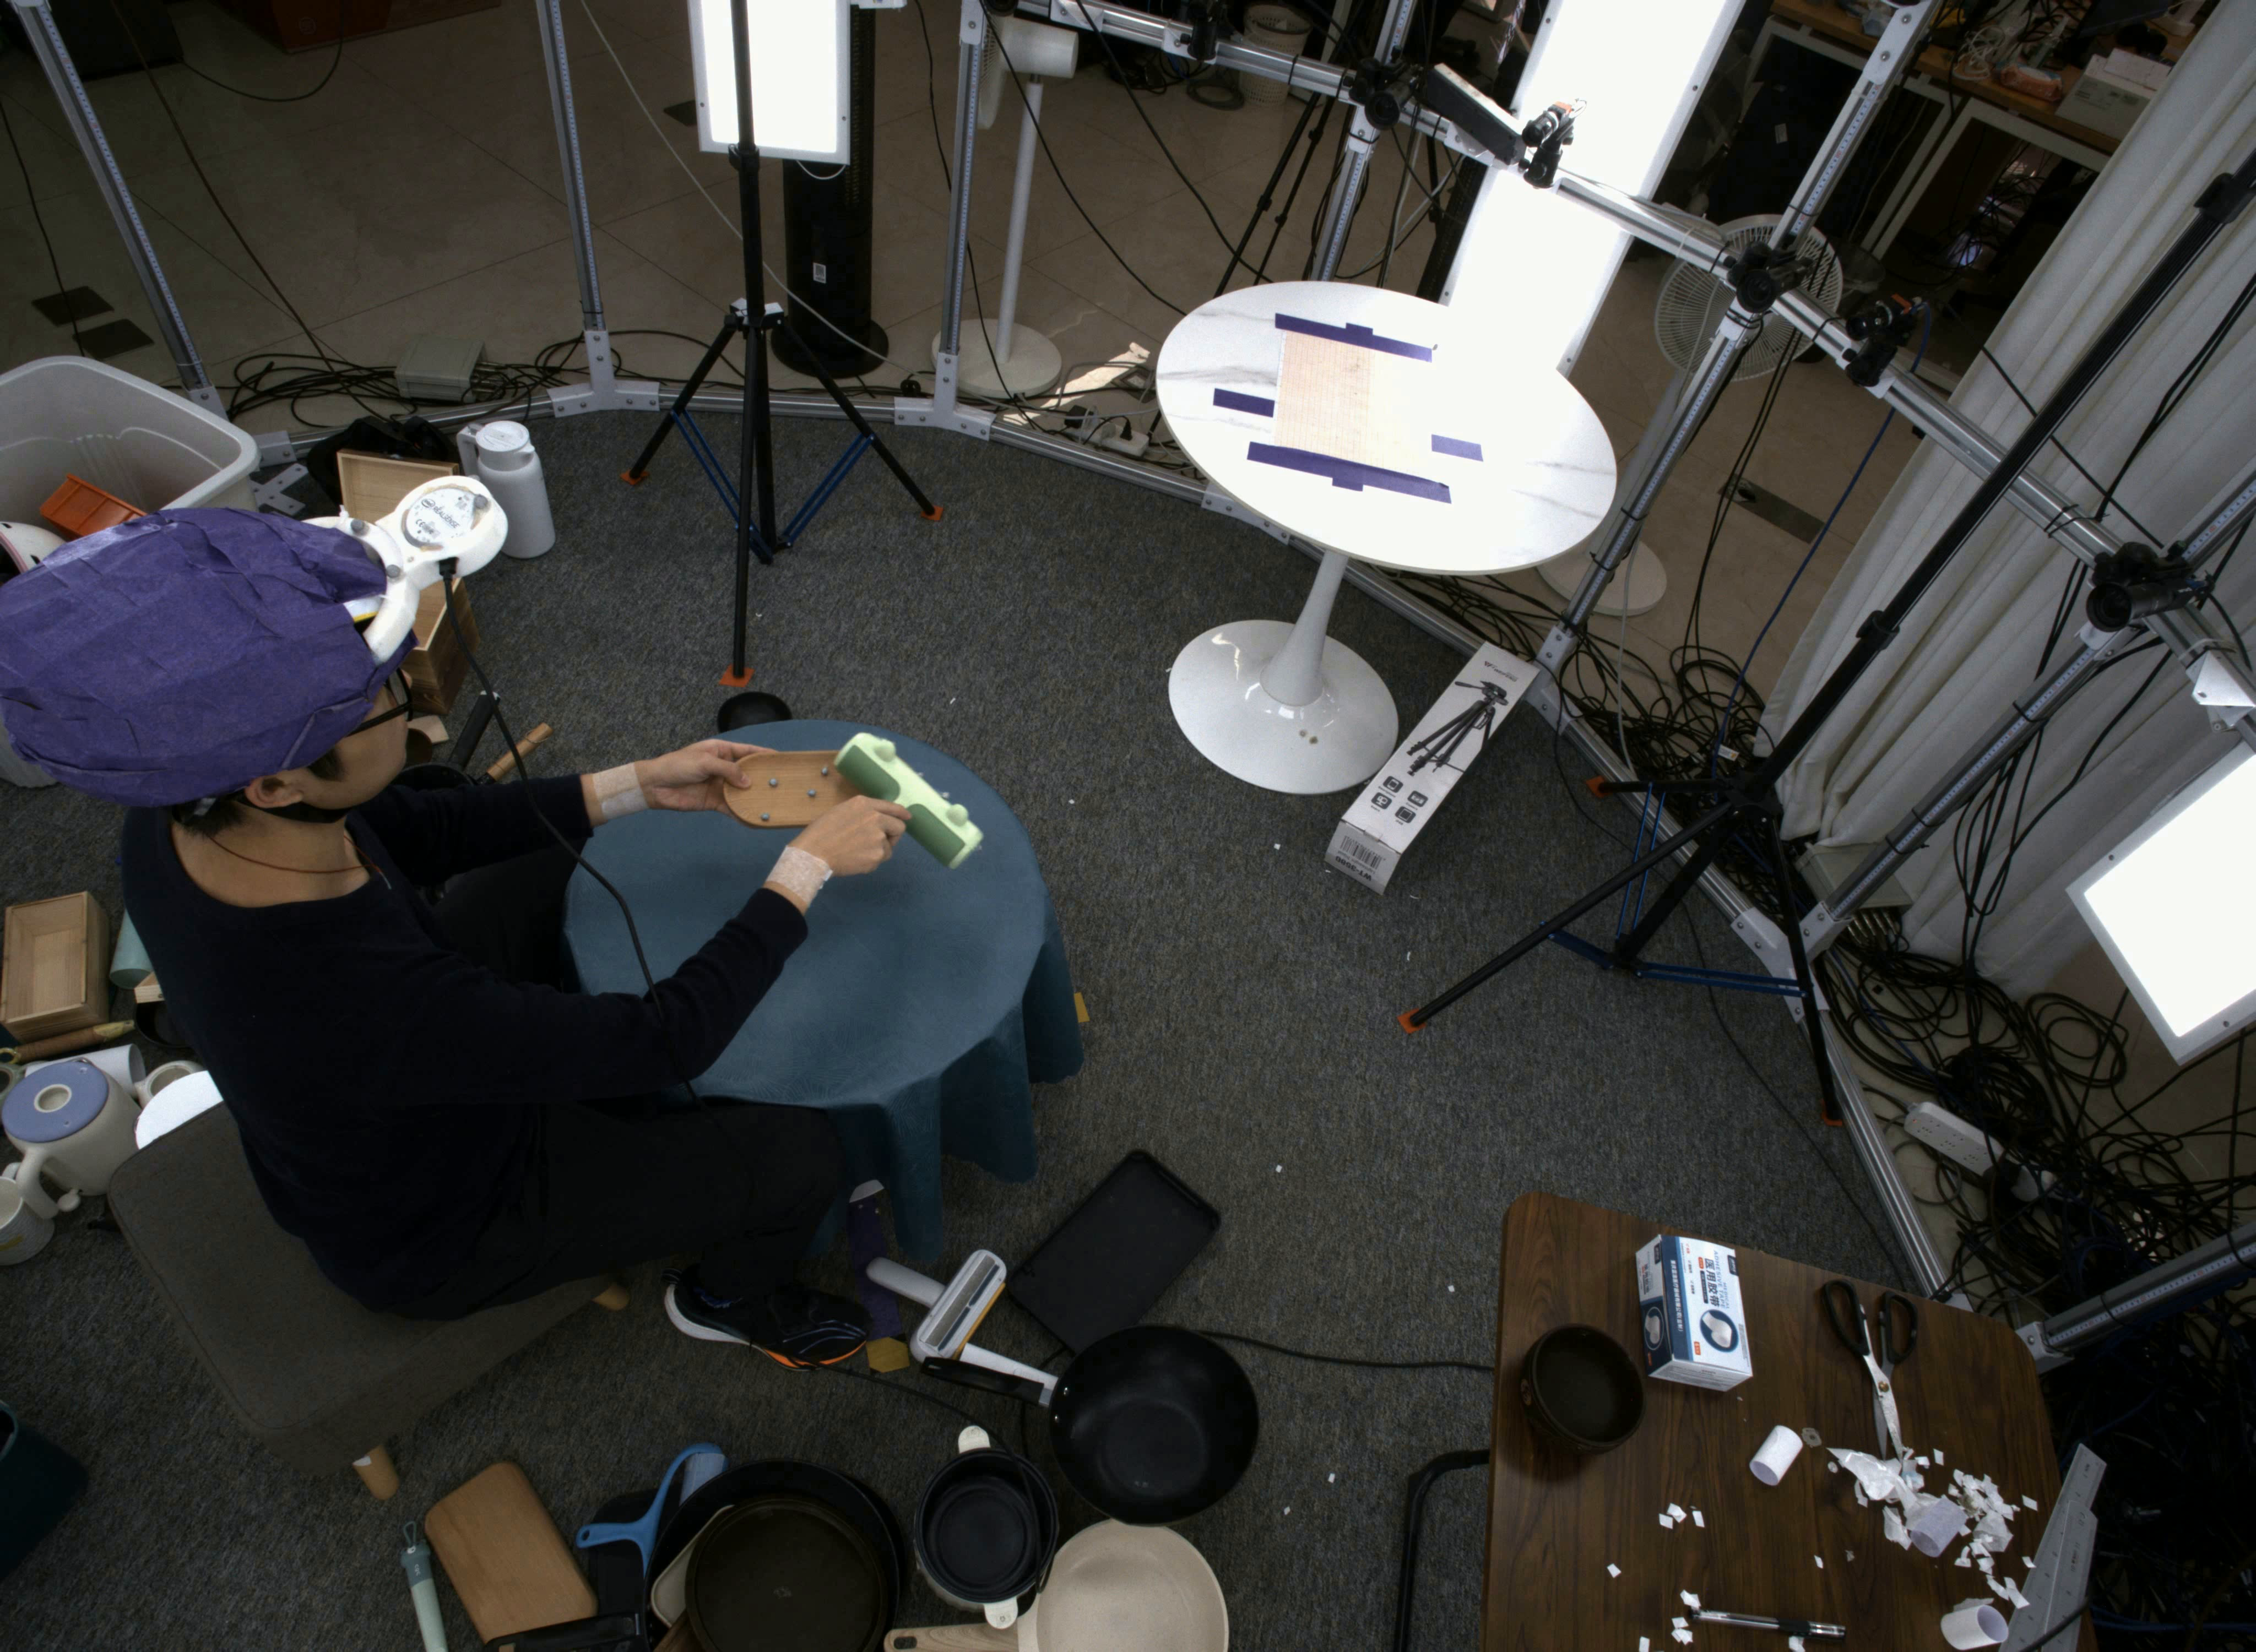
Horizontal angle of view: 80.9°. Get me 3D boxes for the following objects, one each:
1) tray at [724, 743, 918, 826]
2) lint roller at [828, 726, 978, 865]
[{"bbox_3d":[-0.366,-0.051,1.558,0.233,0.020,0.100,-3,68,-26],"label":"tray"},{"bbox_3d":[-0.273,-0.029,1.500,0.199,0.082,0.182,41,19,-4],"label":"lint roller"}]
